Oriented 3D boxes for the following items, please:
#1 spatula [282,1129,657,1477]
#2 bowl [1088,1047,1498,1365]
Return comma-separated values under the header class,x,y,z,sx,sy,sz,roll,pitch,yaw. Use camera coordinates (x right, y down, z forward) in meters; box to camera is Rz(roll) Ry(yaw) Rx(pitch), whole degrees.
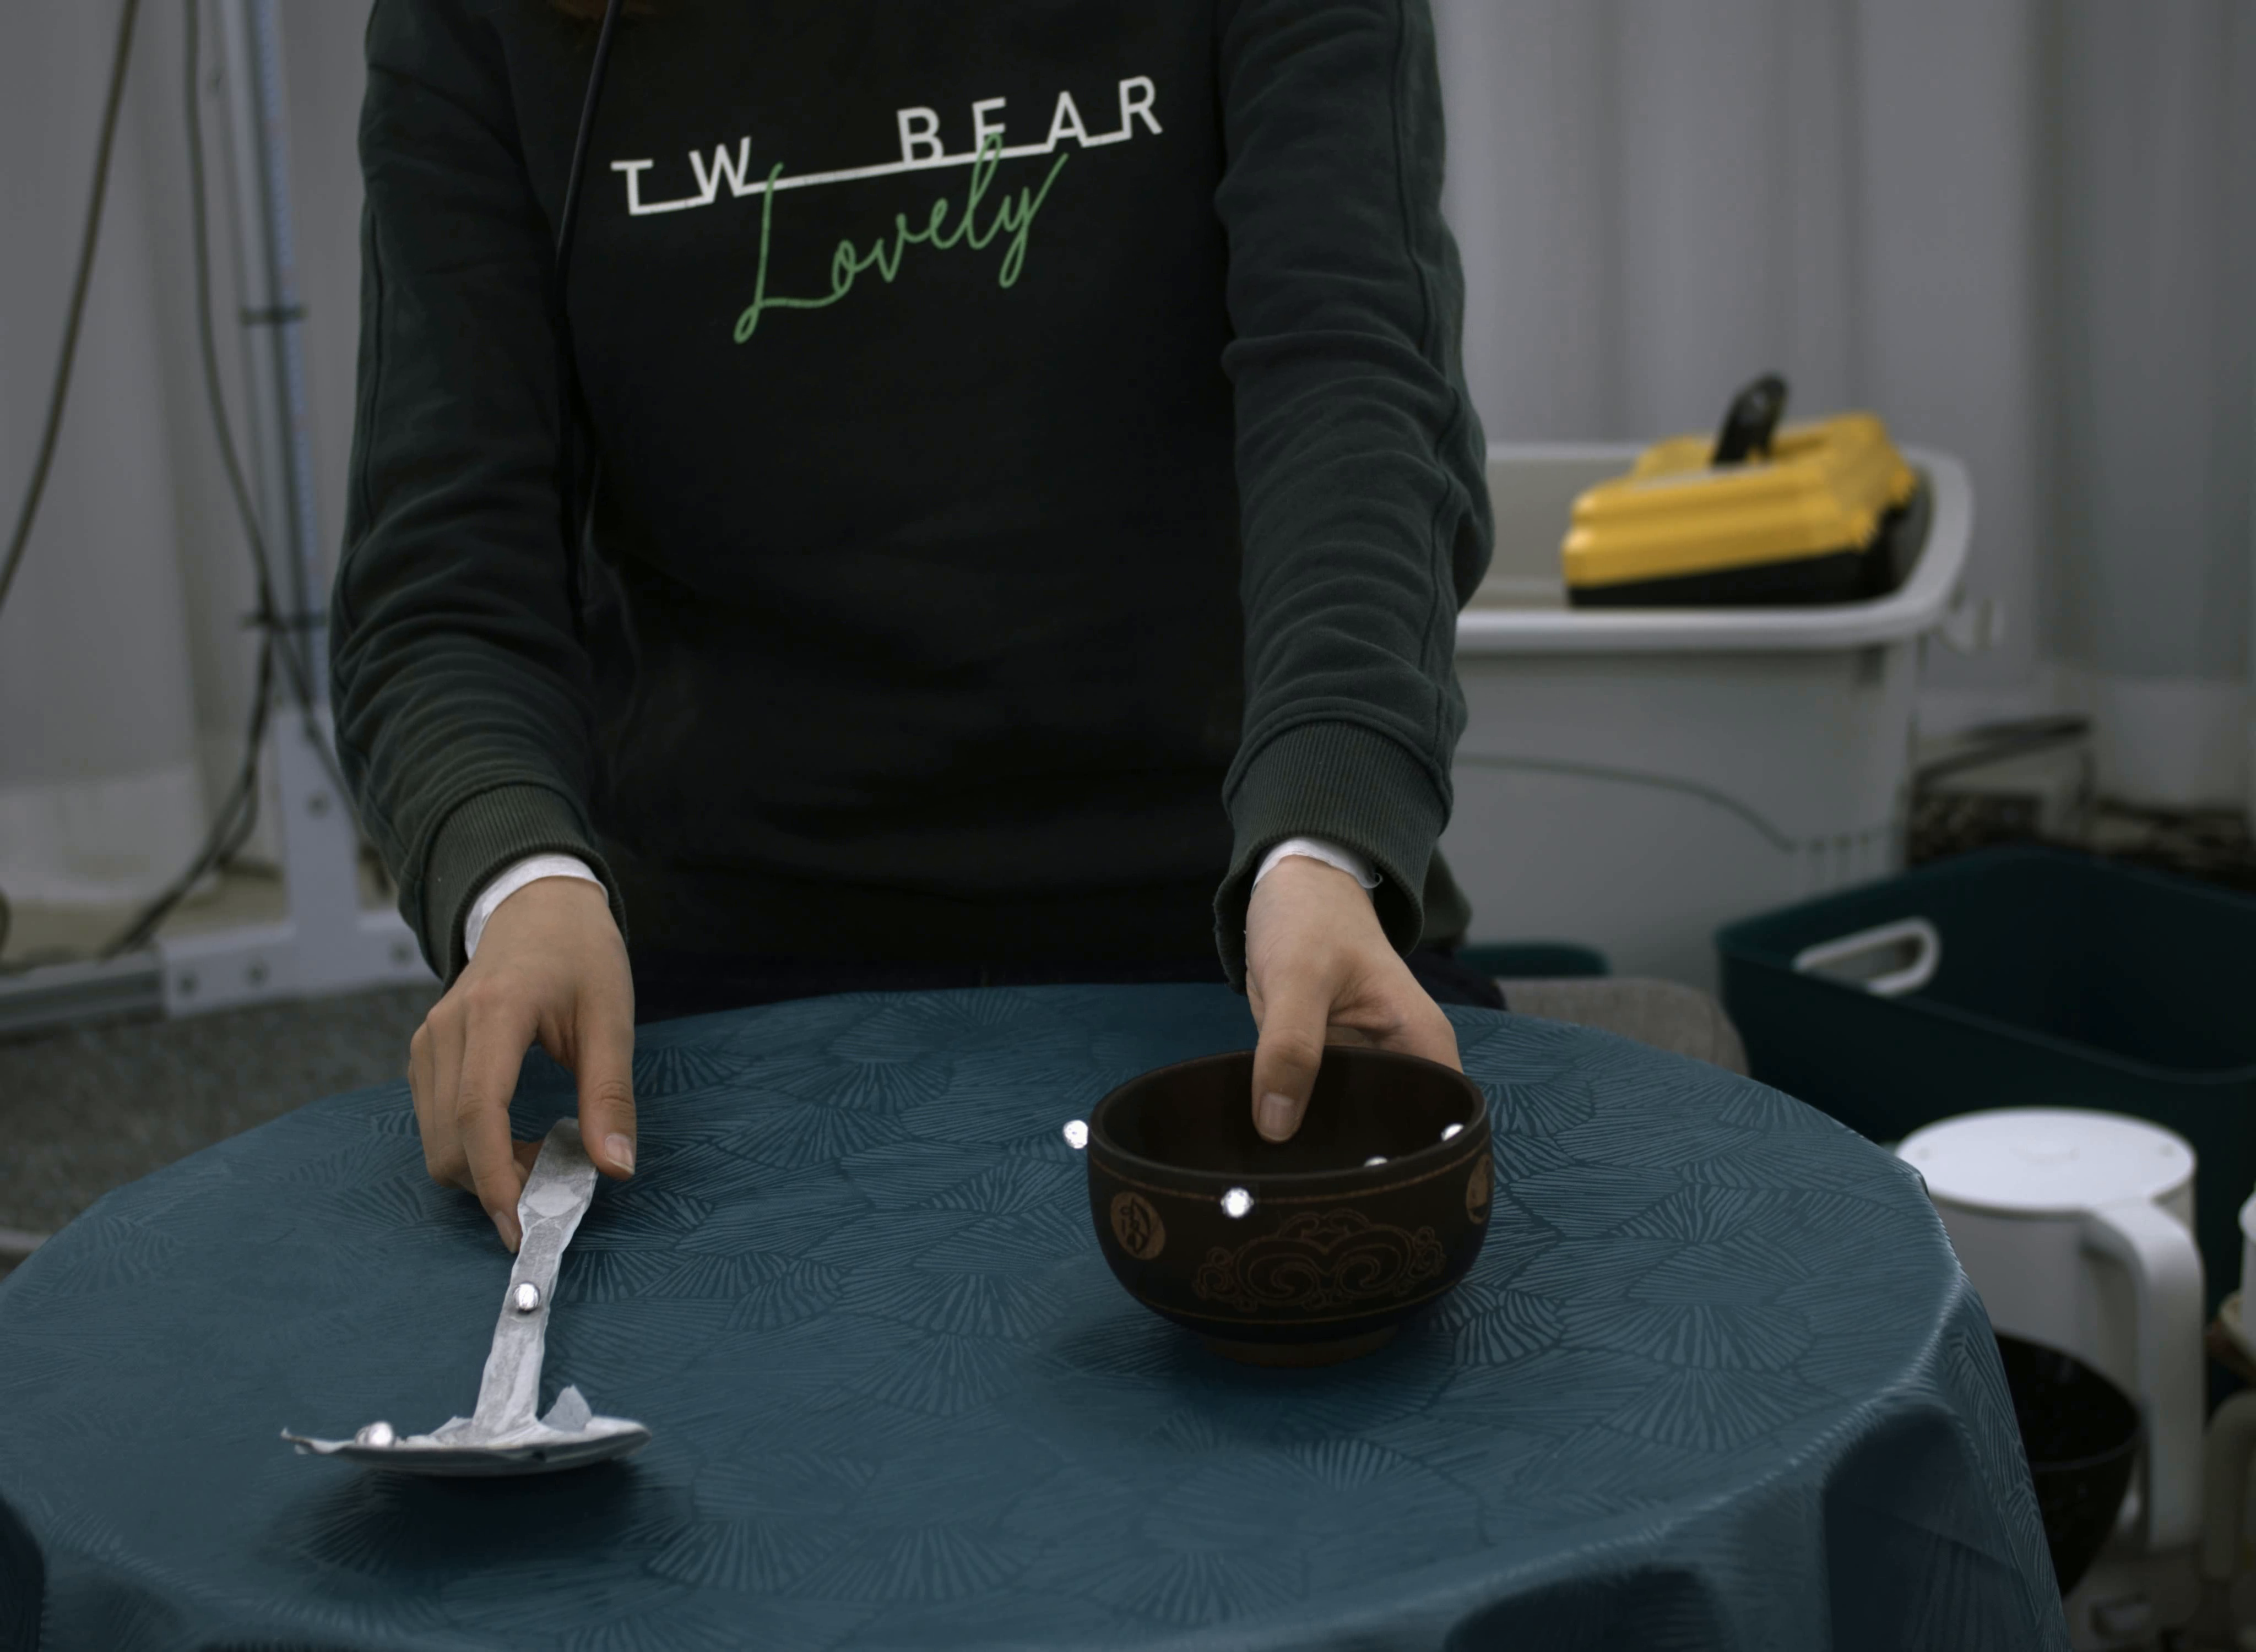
class,x,y,z,sx,sy,sz,roll,pitch,yaw
spatula,-0.171,0.131,1.607,0.098,0.044,0.367,-3,16,2
bowl,0.048,0.113,1.573,0.117,0.069,0.119,-2,14,0
